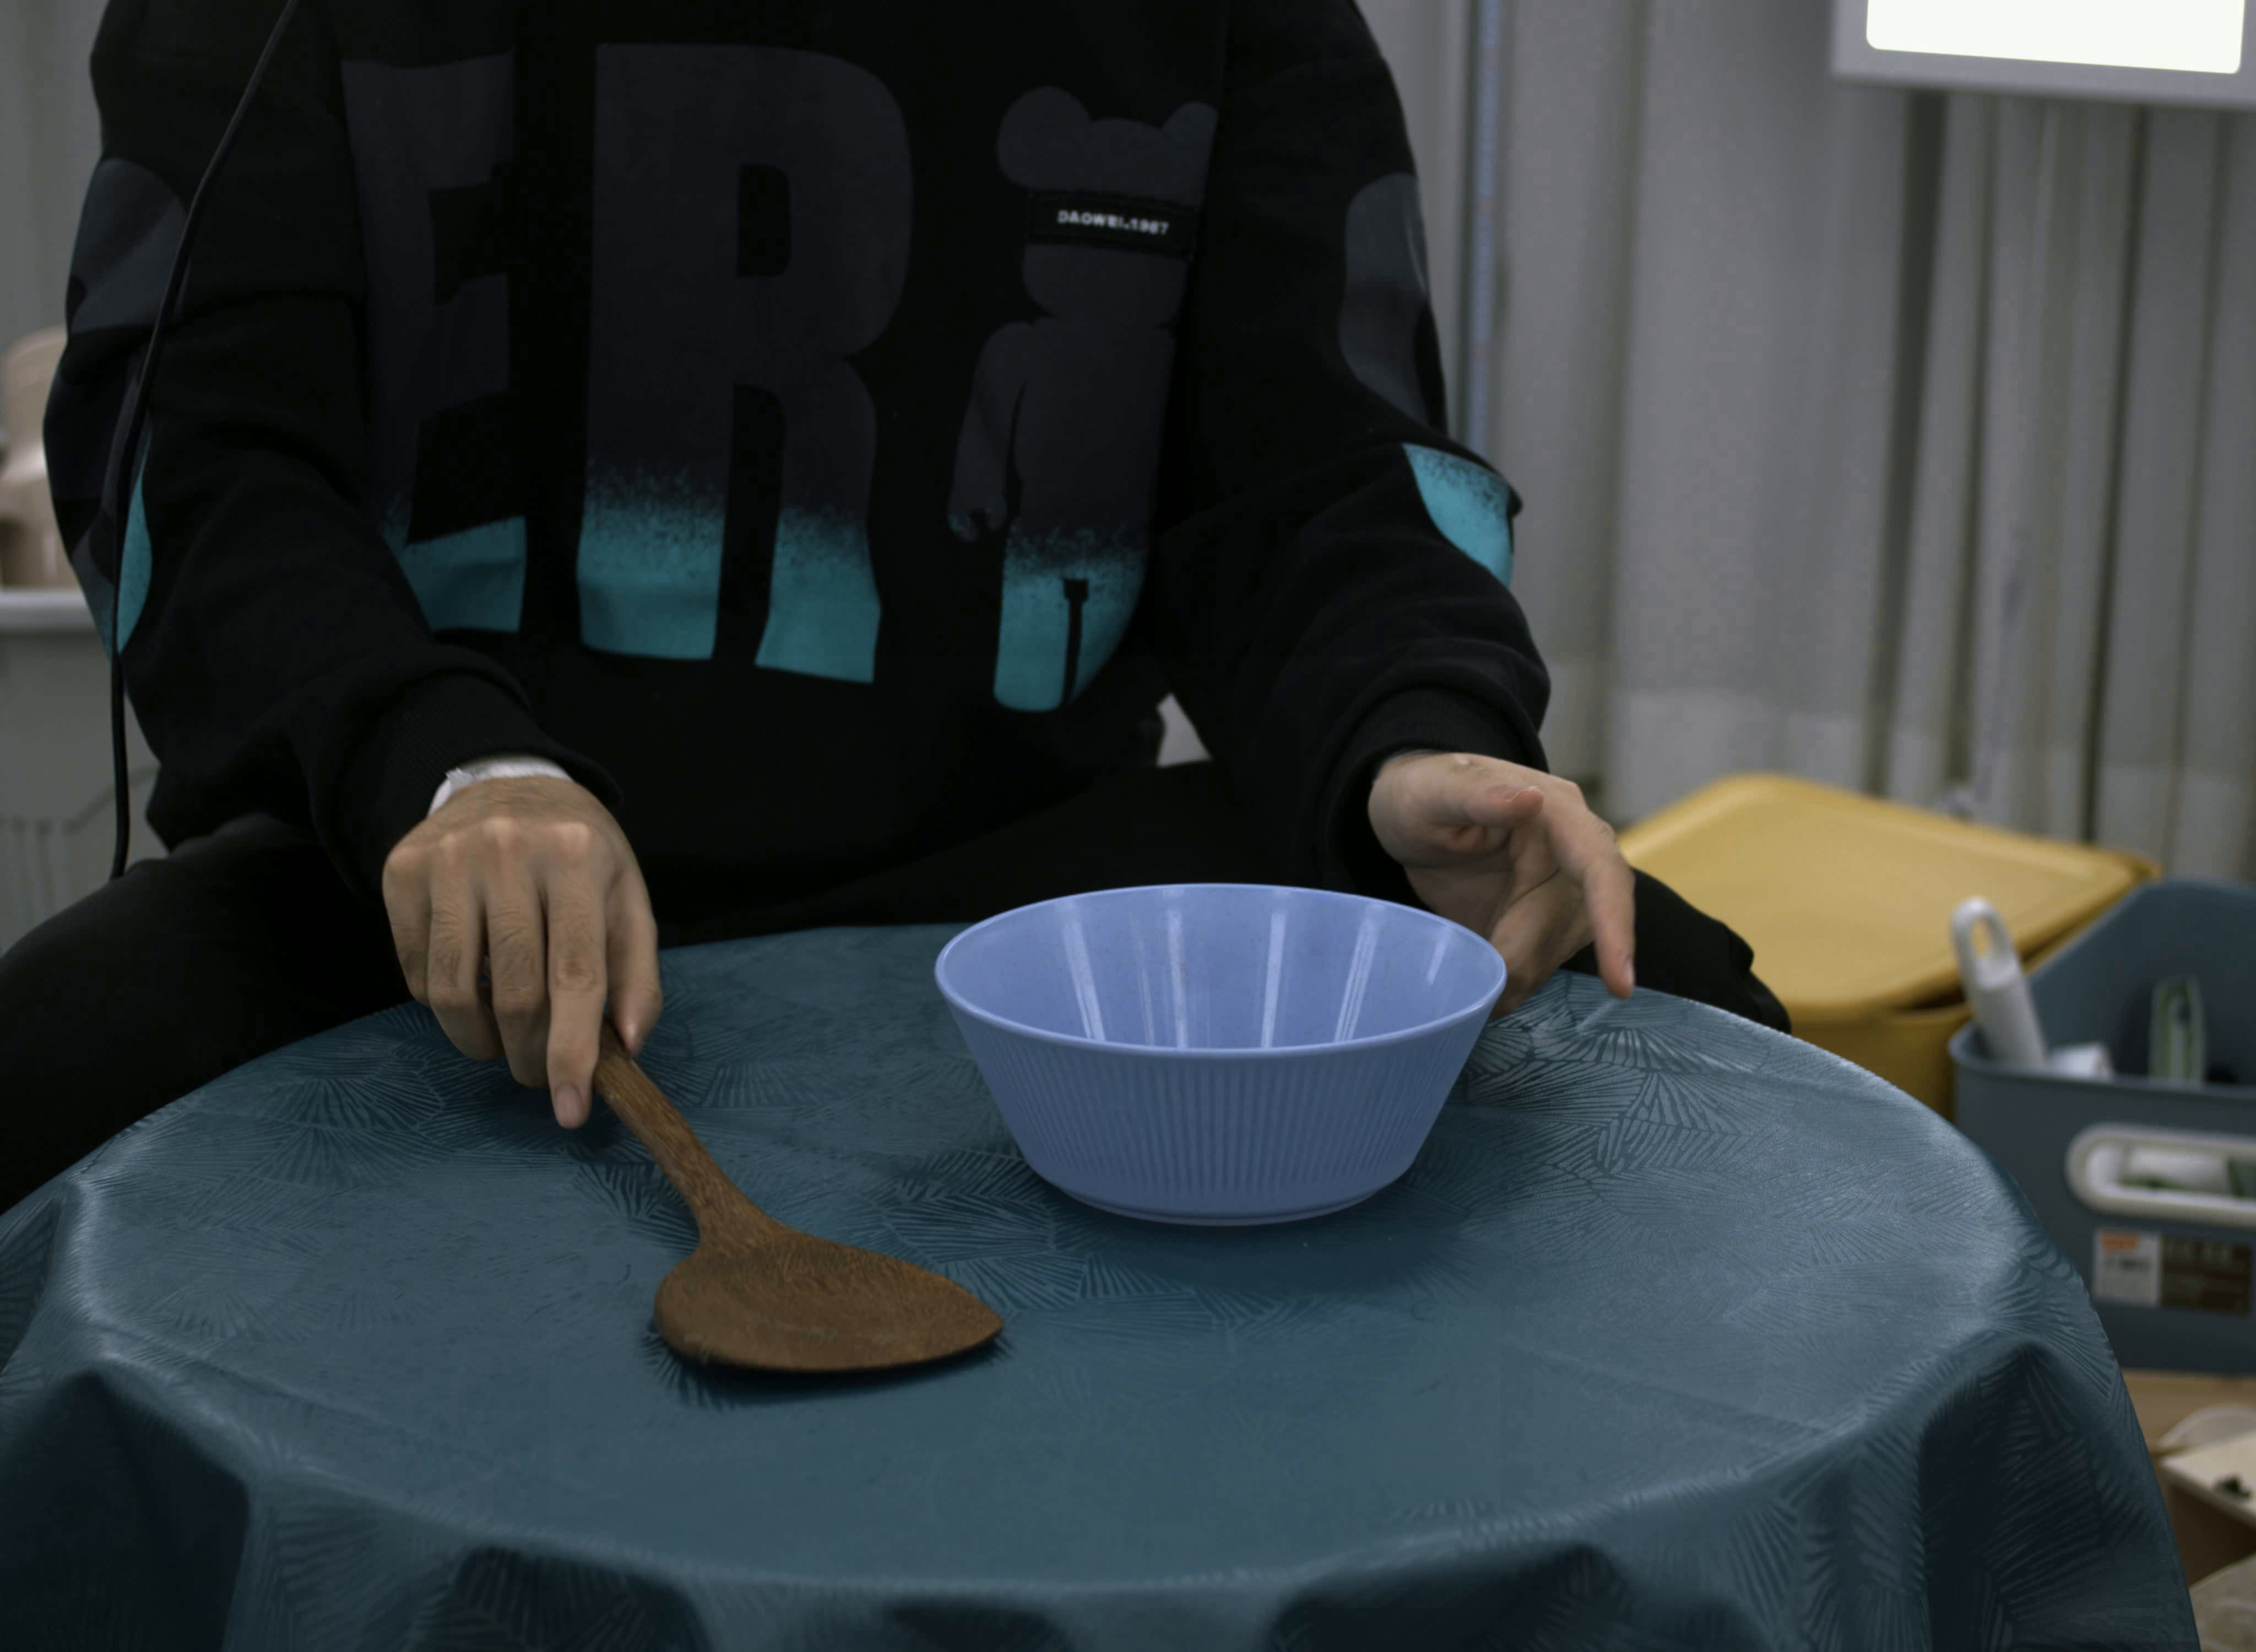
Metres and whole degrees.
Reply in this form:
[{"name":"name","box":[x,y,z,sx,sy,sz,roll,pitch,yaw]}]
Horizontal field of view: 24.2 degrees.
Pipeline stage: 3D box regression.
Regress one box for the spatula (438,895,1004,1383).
[{"name":"spatula","box":[-0.148,0.089,1.627,0.096,0.016,0.381,-2,21,-25]}]

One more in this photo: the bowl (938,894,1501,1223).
[{"name":"bowl","box":[0.028,0.074,1.635,0.175,0.071,0.175,1,15,0]}]
